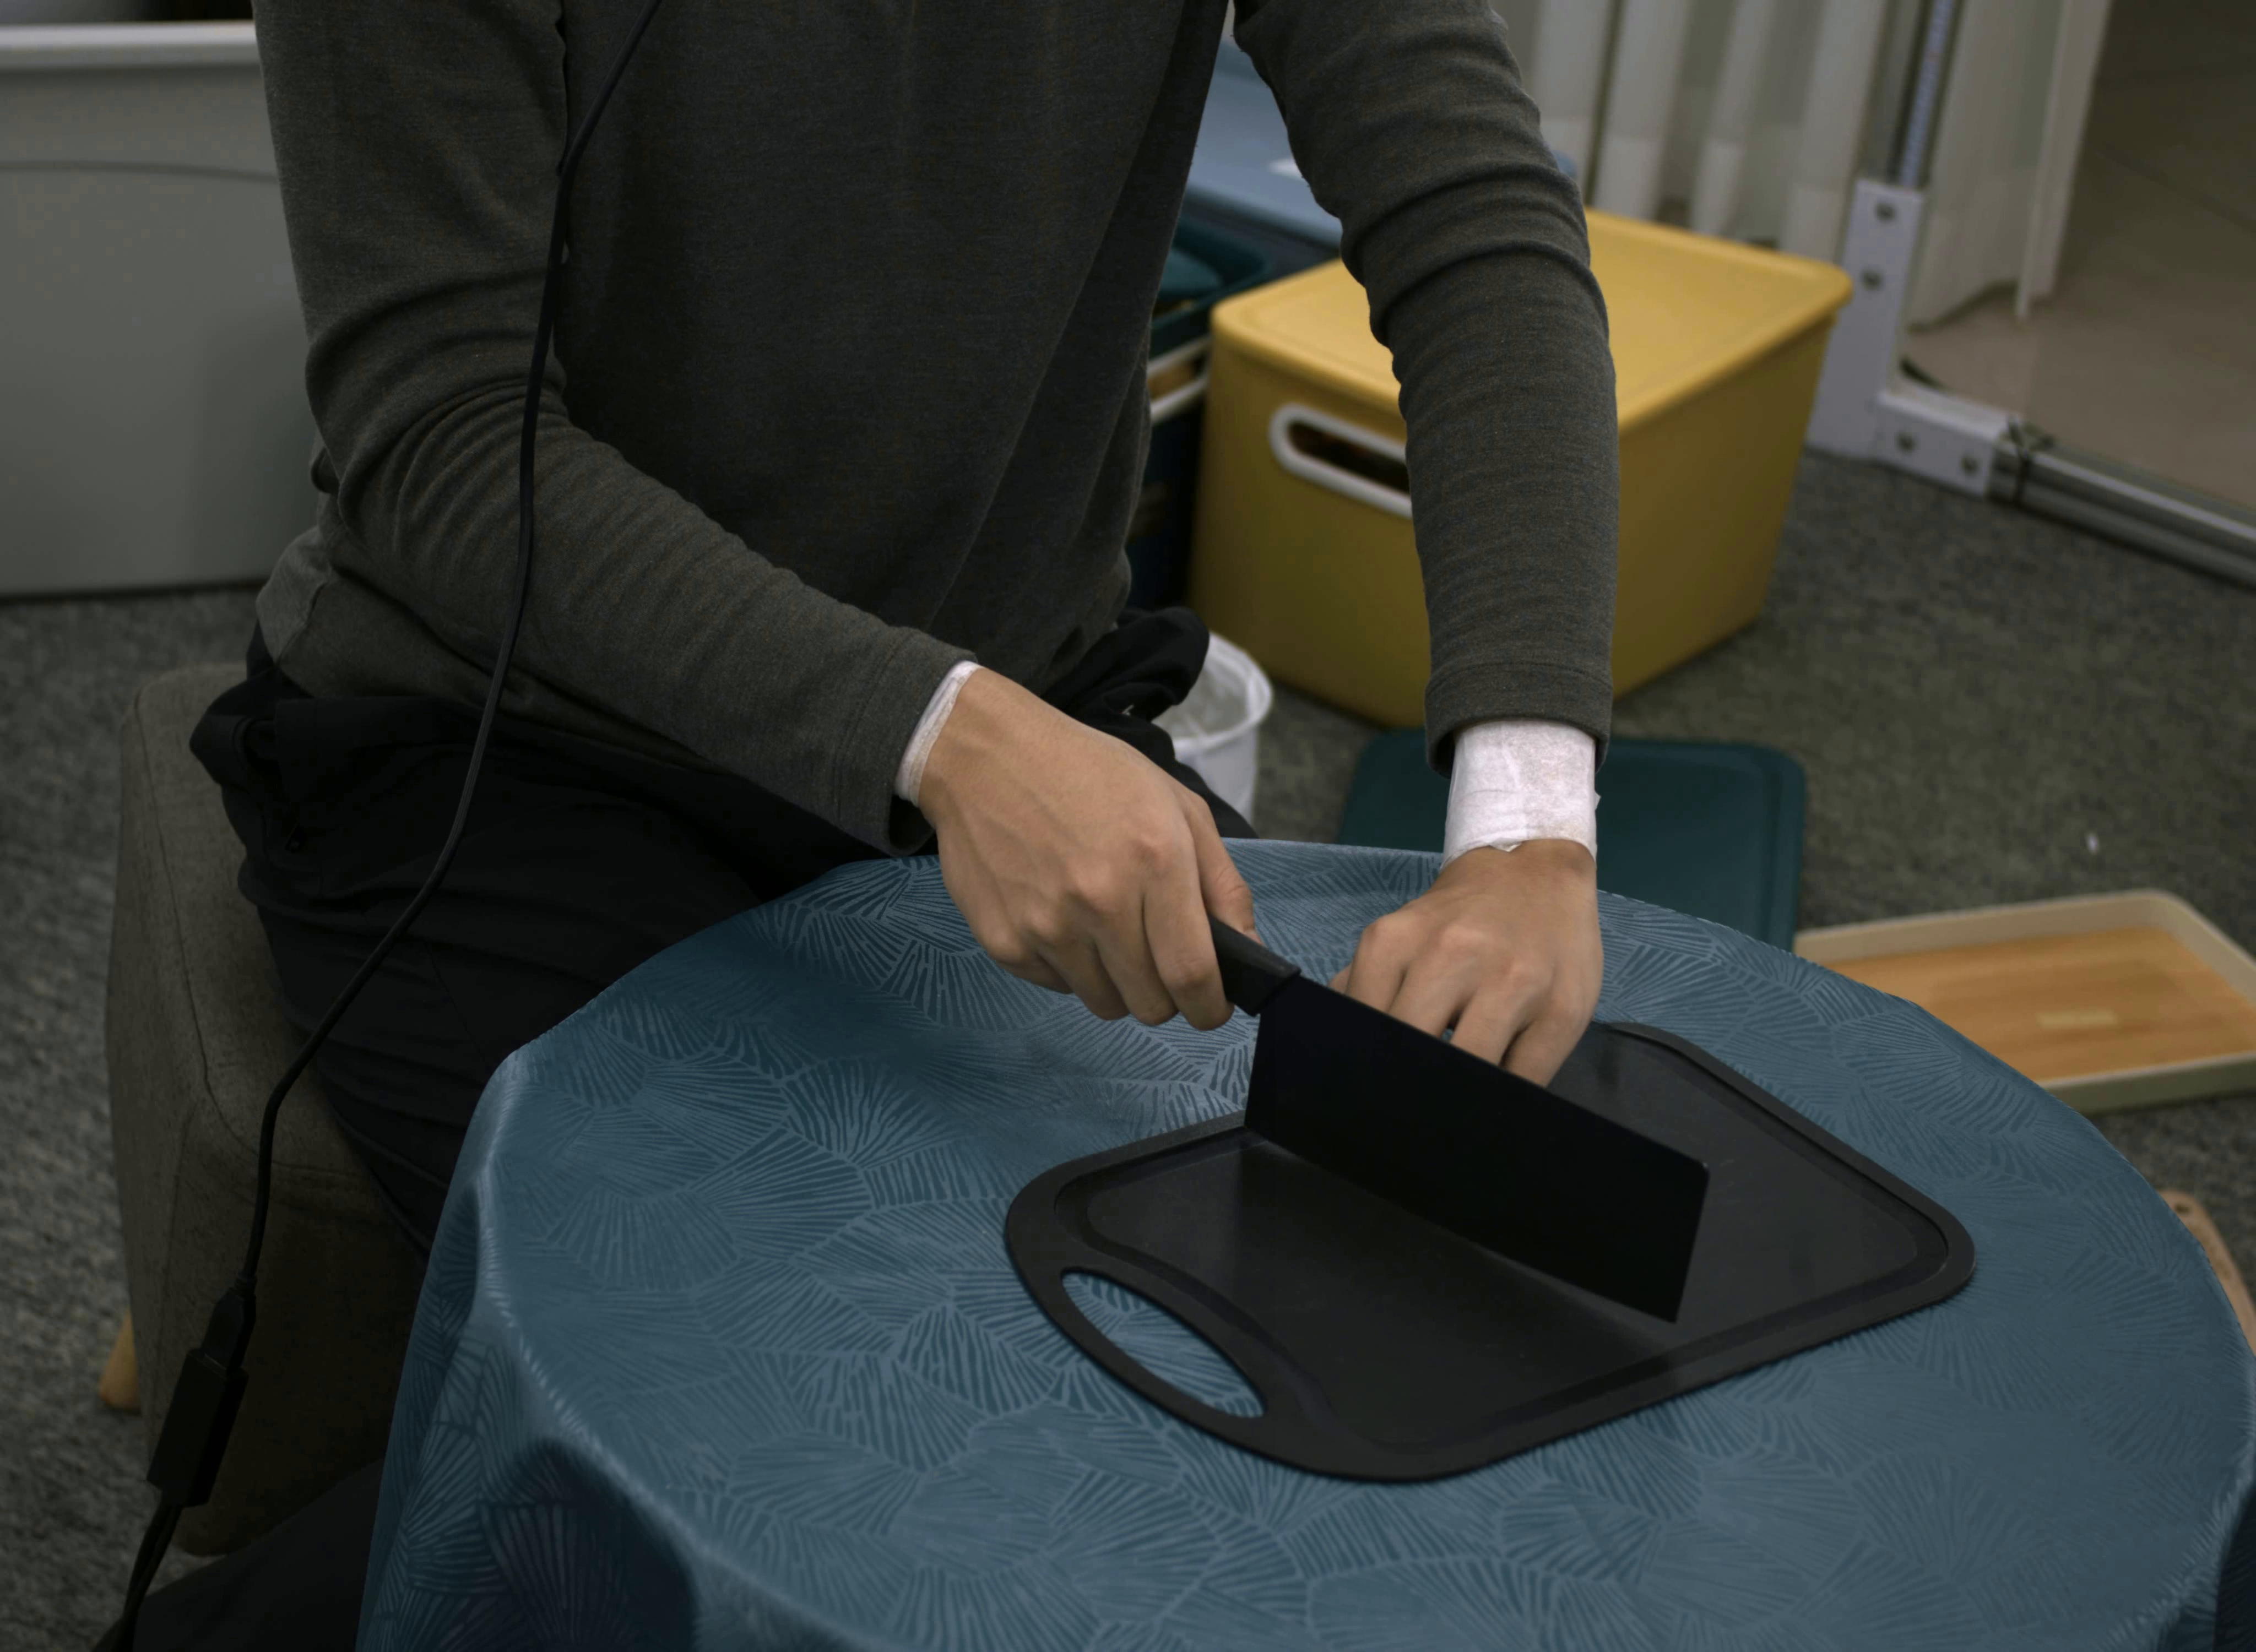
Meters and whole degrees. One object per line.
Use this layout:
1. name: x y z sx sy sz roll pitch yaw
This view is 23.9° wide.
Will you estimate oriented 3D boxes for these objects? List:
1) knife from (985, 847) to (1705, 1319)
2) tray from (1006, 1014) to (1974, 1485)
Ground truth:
1. knife: 0.069 0.082 1.813 0.304 0.081 0.021 29 30 30
2. tray: 0.119 0.138 1.793 0.323 0.010 0.213 -13 34 -35
